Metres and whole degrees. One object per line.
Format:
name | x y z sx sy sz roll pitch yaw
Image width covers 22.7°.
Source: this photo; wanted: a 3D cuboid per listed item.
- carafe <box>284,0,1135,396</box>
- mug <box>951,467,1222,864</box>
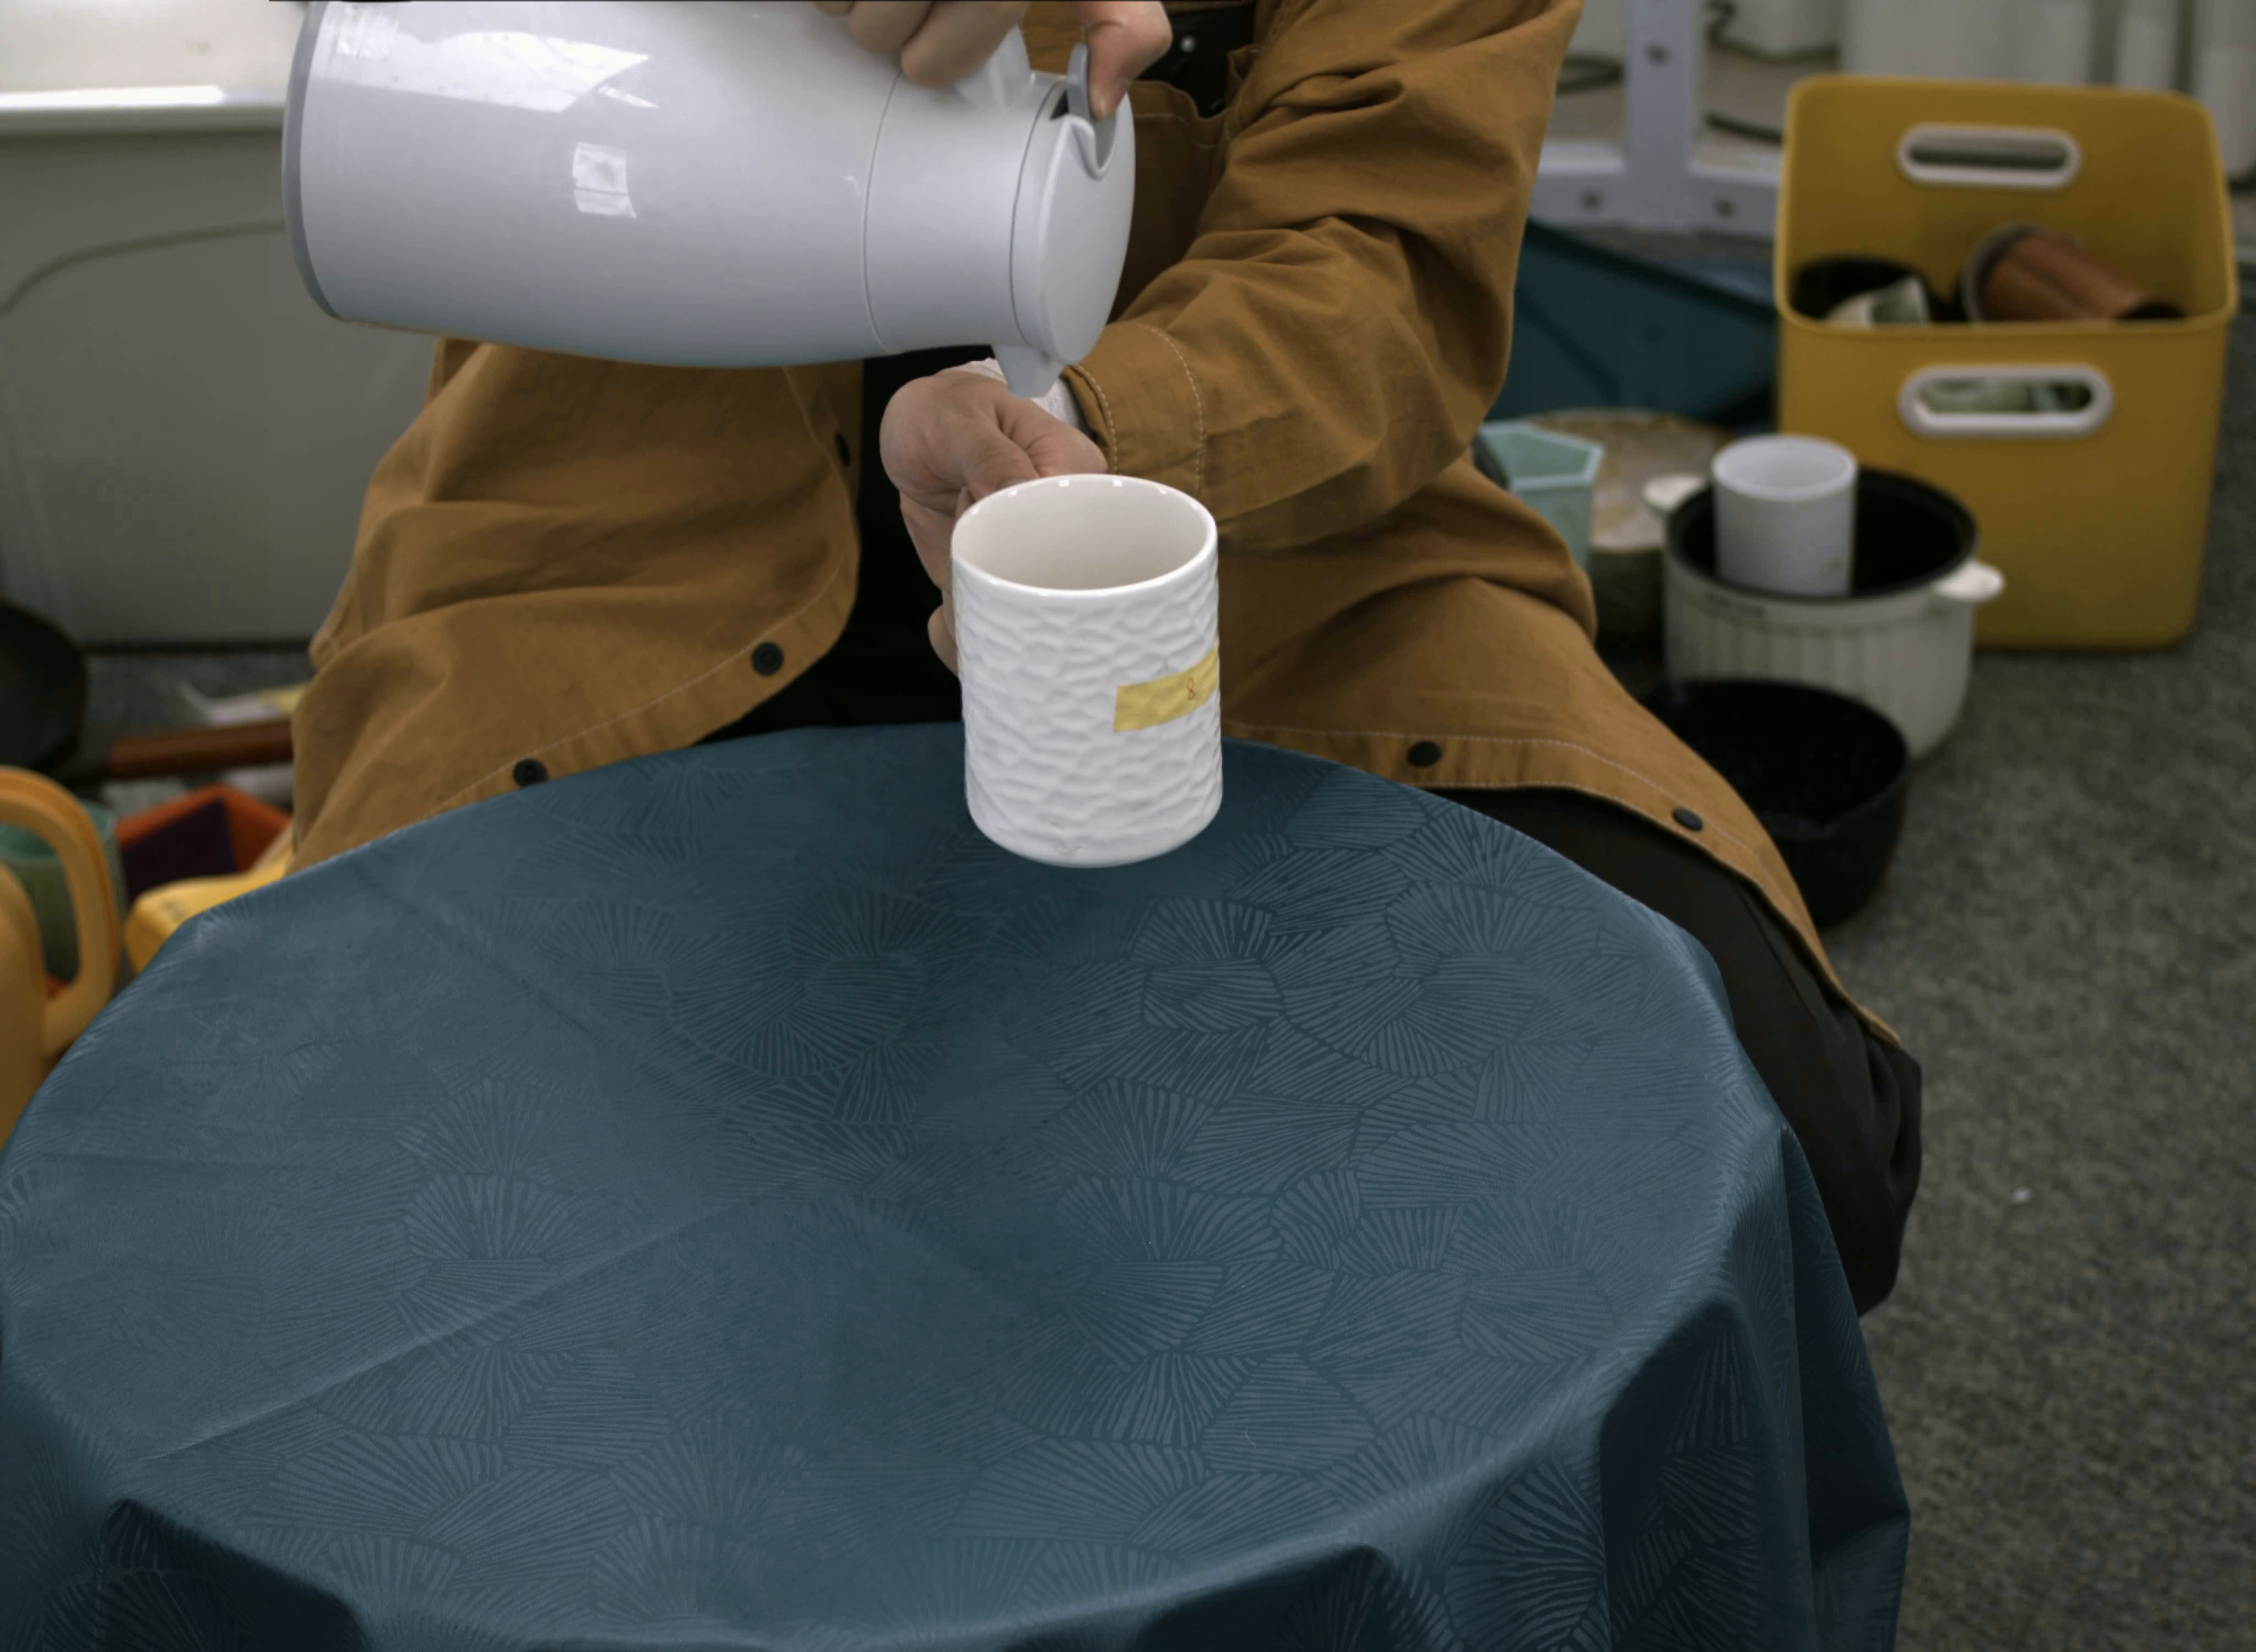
carafe | -0.123 -0.220 1.743 0.247 0.165 0.135 9 37 15
mug | -0.019 -0.058 1.816 0.085 0.101 0.119 -14 31 -21
